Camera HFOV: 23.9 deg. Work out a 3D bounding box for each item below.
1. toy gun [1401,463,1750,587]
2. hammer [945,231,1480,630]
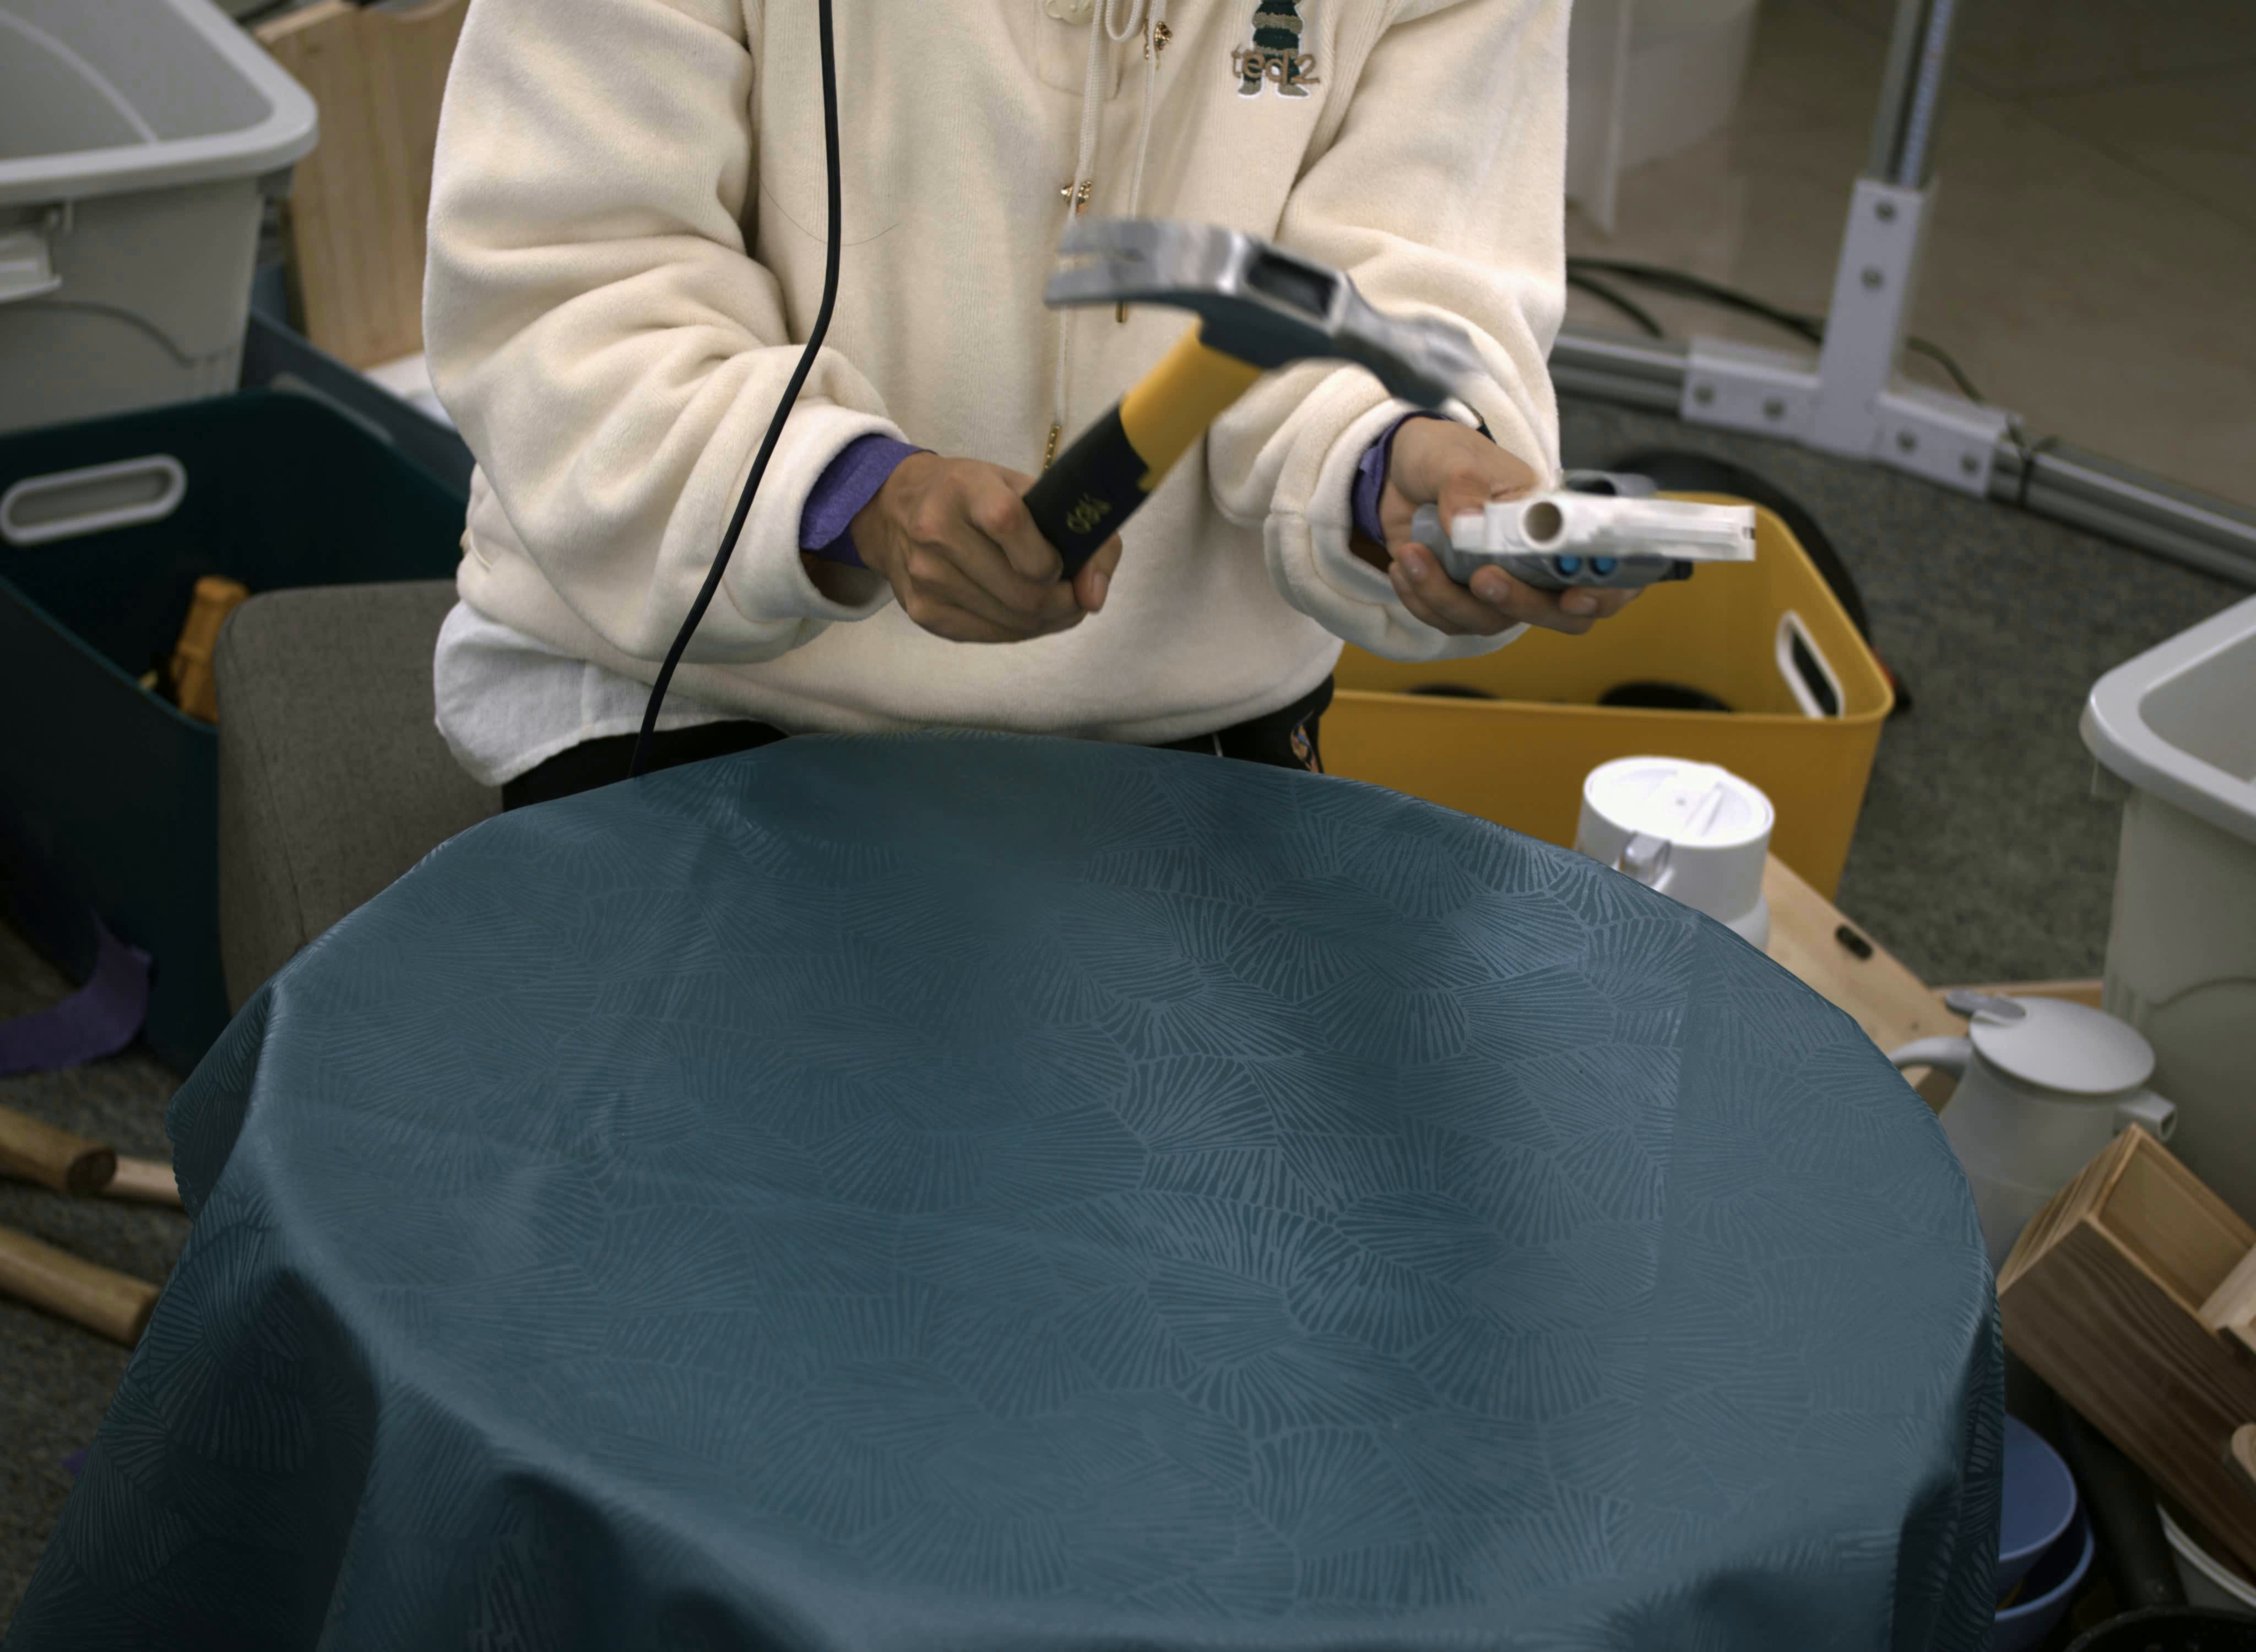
[{"bbox_3d":[0.135,-0.102,1.799,0.142,0.039,0.208,3,0,25],"label":"toy gun"},{"bbox_3d":[0.002,-0.131,1.869,0.130,0.032,0.338,21,-20,-13],"label":"hammer"}]
